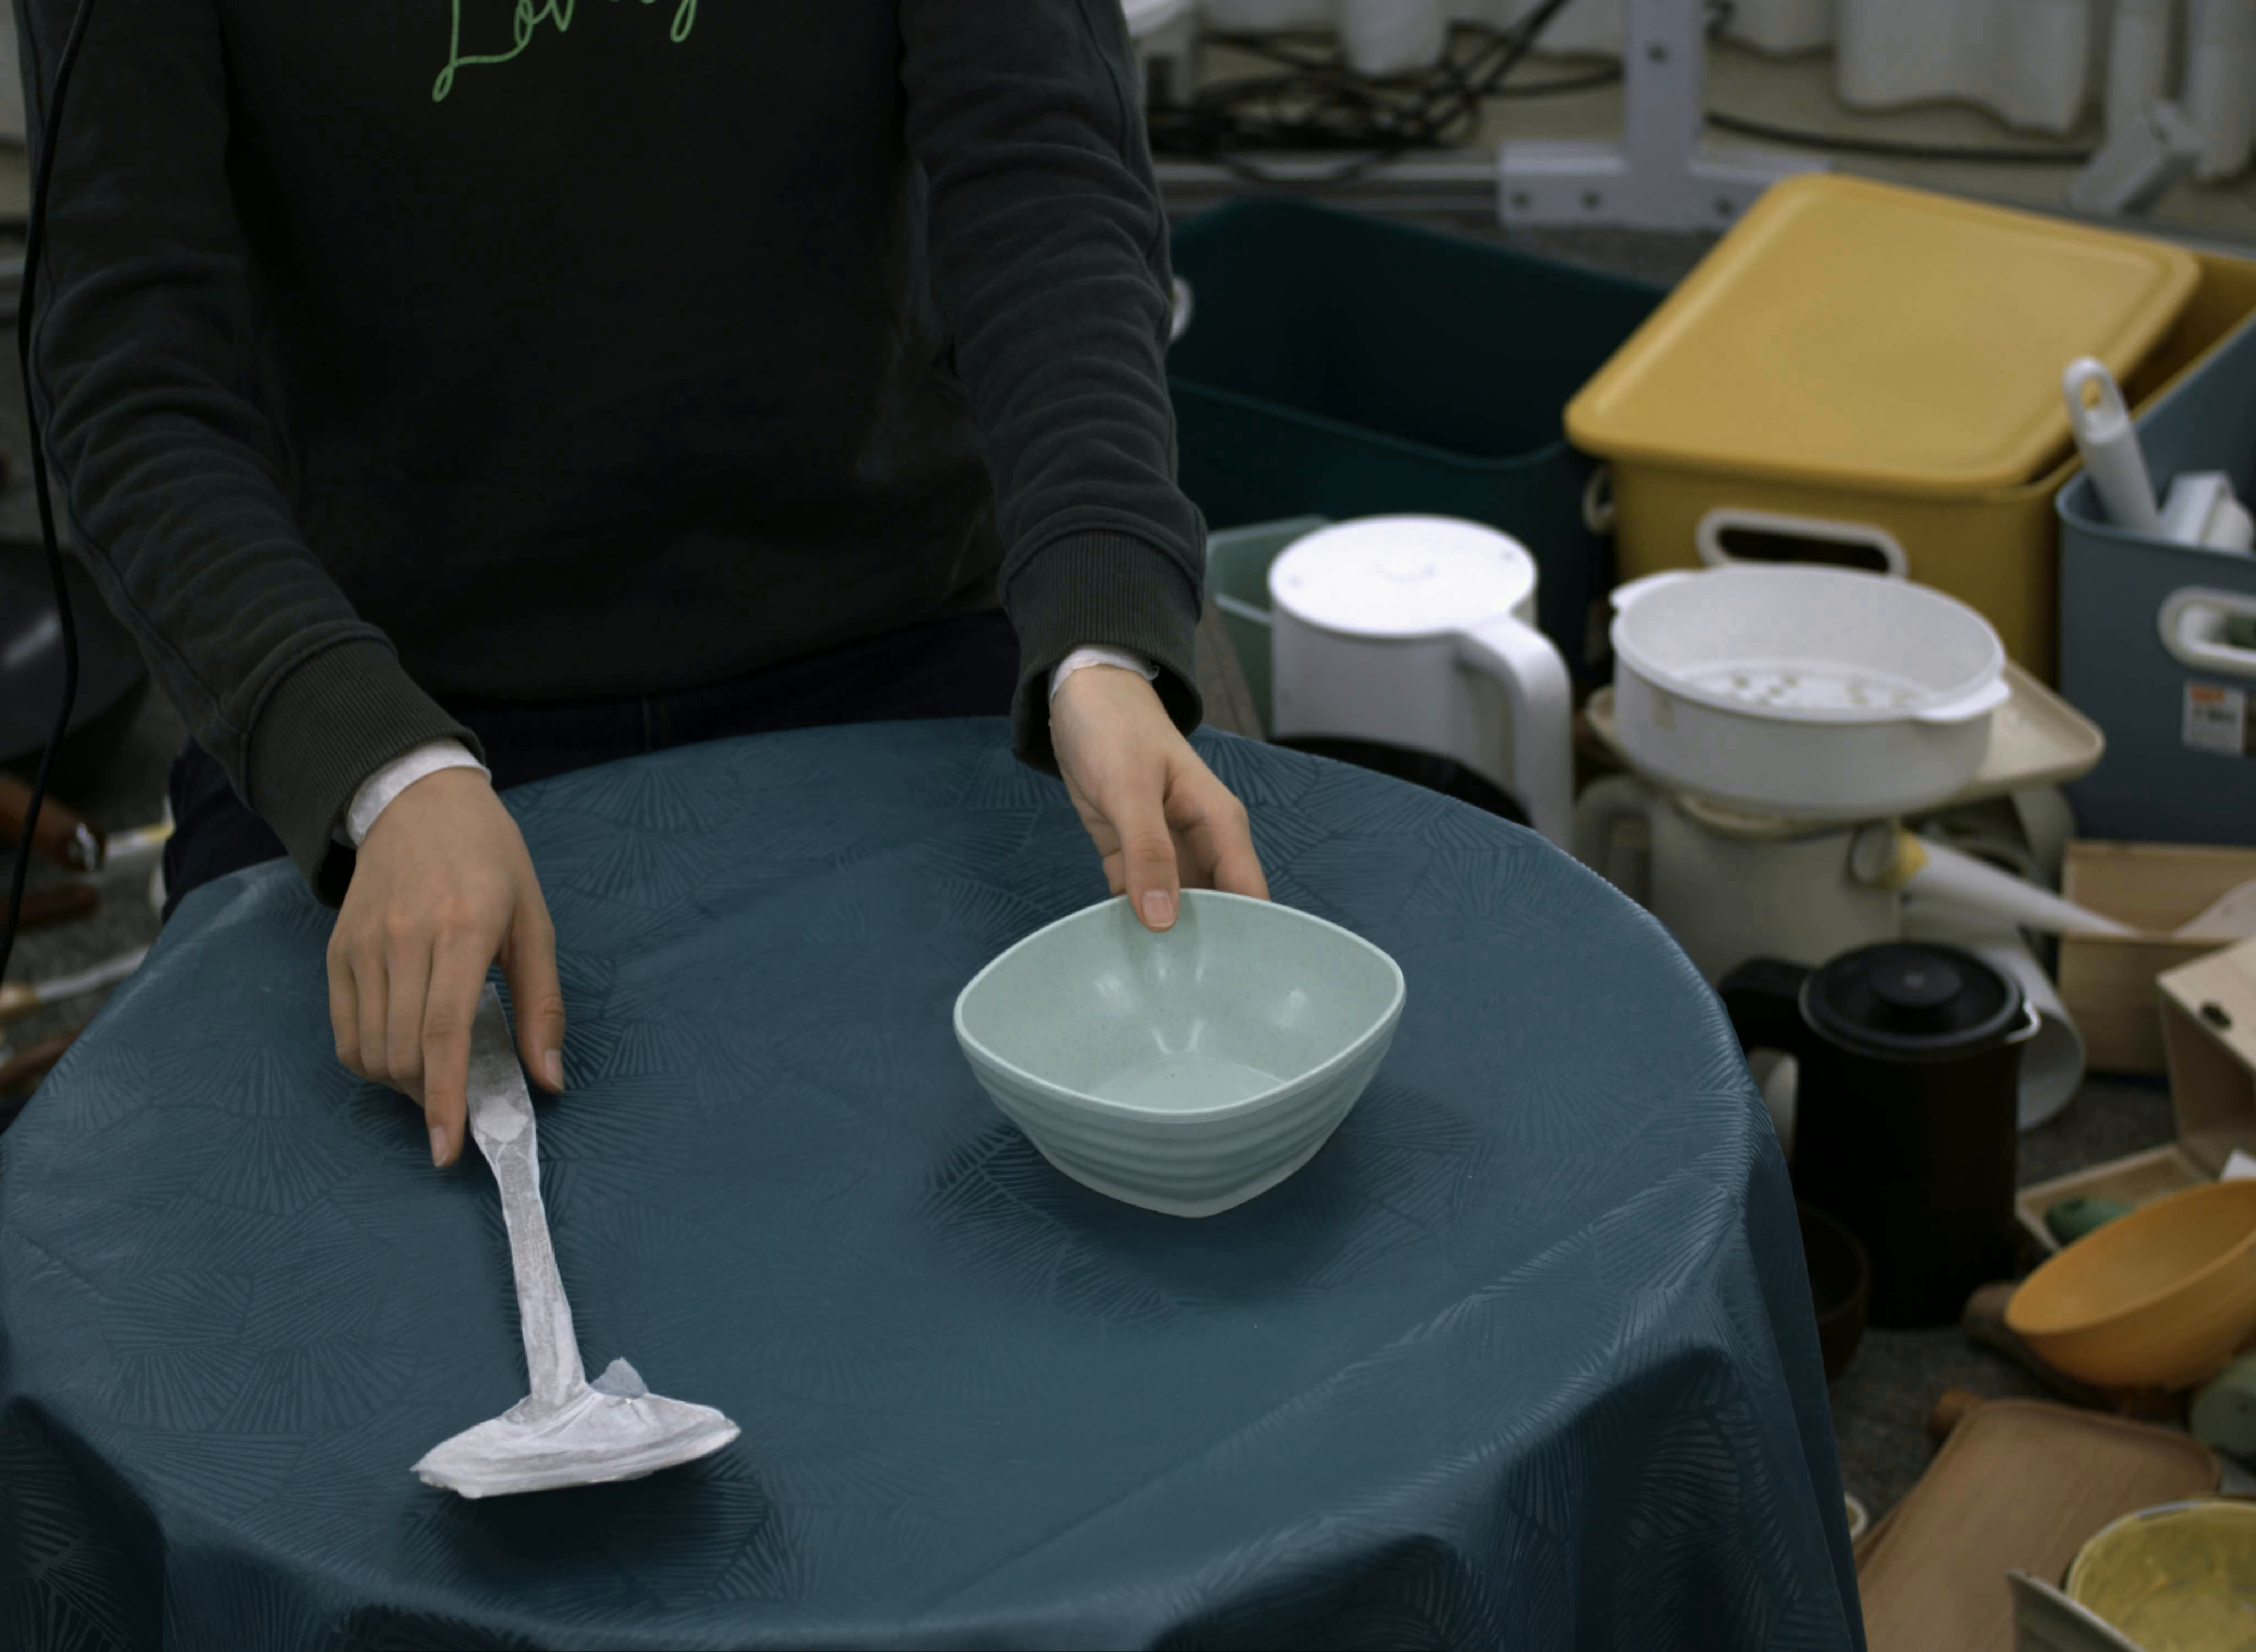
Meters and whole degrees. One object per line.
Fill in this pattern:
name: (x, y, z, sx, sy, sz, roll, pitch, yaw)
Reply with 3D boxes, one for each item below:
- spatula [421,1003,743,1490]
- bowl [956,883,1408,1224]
spatula: (-0.191, 0.129, 1.825, 0.098, 0.044, 0.369, -9, 28, -7)
bowl: (0.019, 0.082, 1.877, 0.151, 0.058, 0.154, -1, 29, 1)
